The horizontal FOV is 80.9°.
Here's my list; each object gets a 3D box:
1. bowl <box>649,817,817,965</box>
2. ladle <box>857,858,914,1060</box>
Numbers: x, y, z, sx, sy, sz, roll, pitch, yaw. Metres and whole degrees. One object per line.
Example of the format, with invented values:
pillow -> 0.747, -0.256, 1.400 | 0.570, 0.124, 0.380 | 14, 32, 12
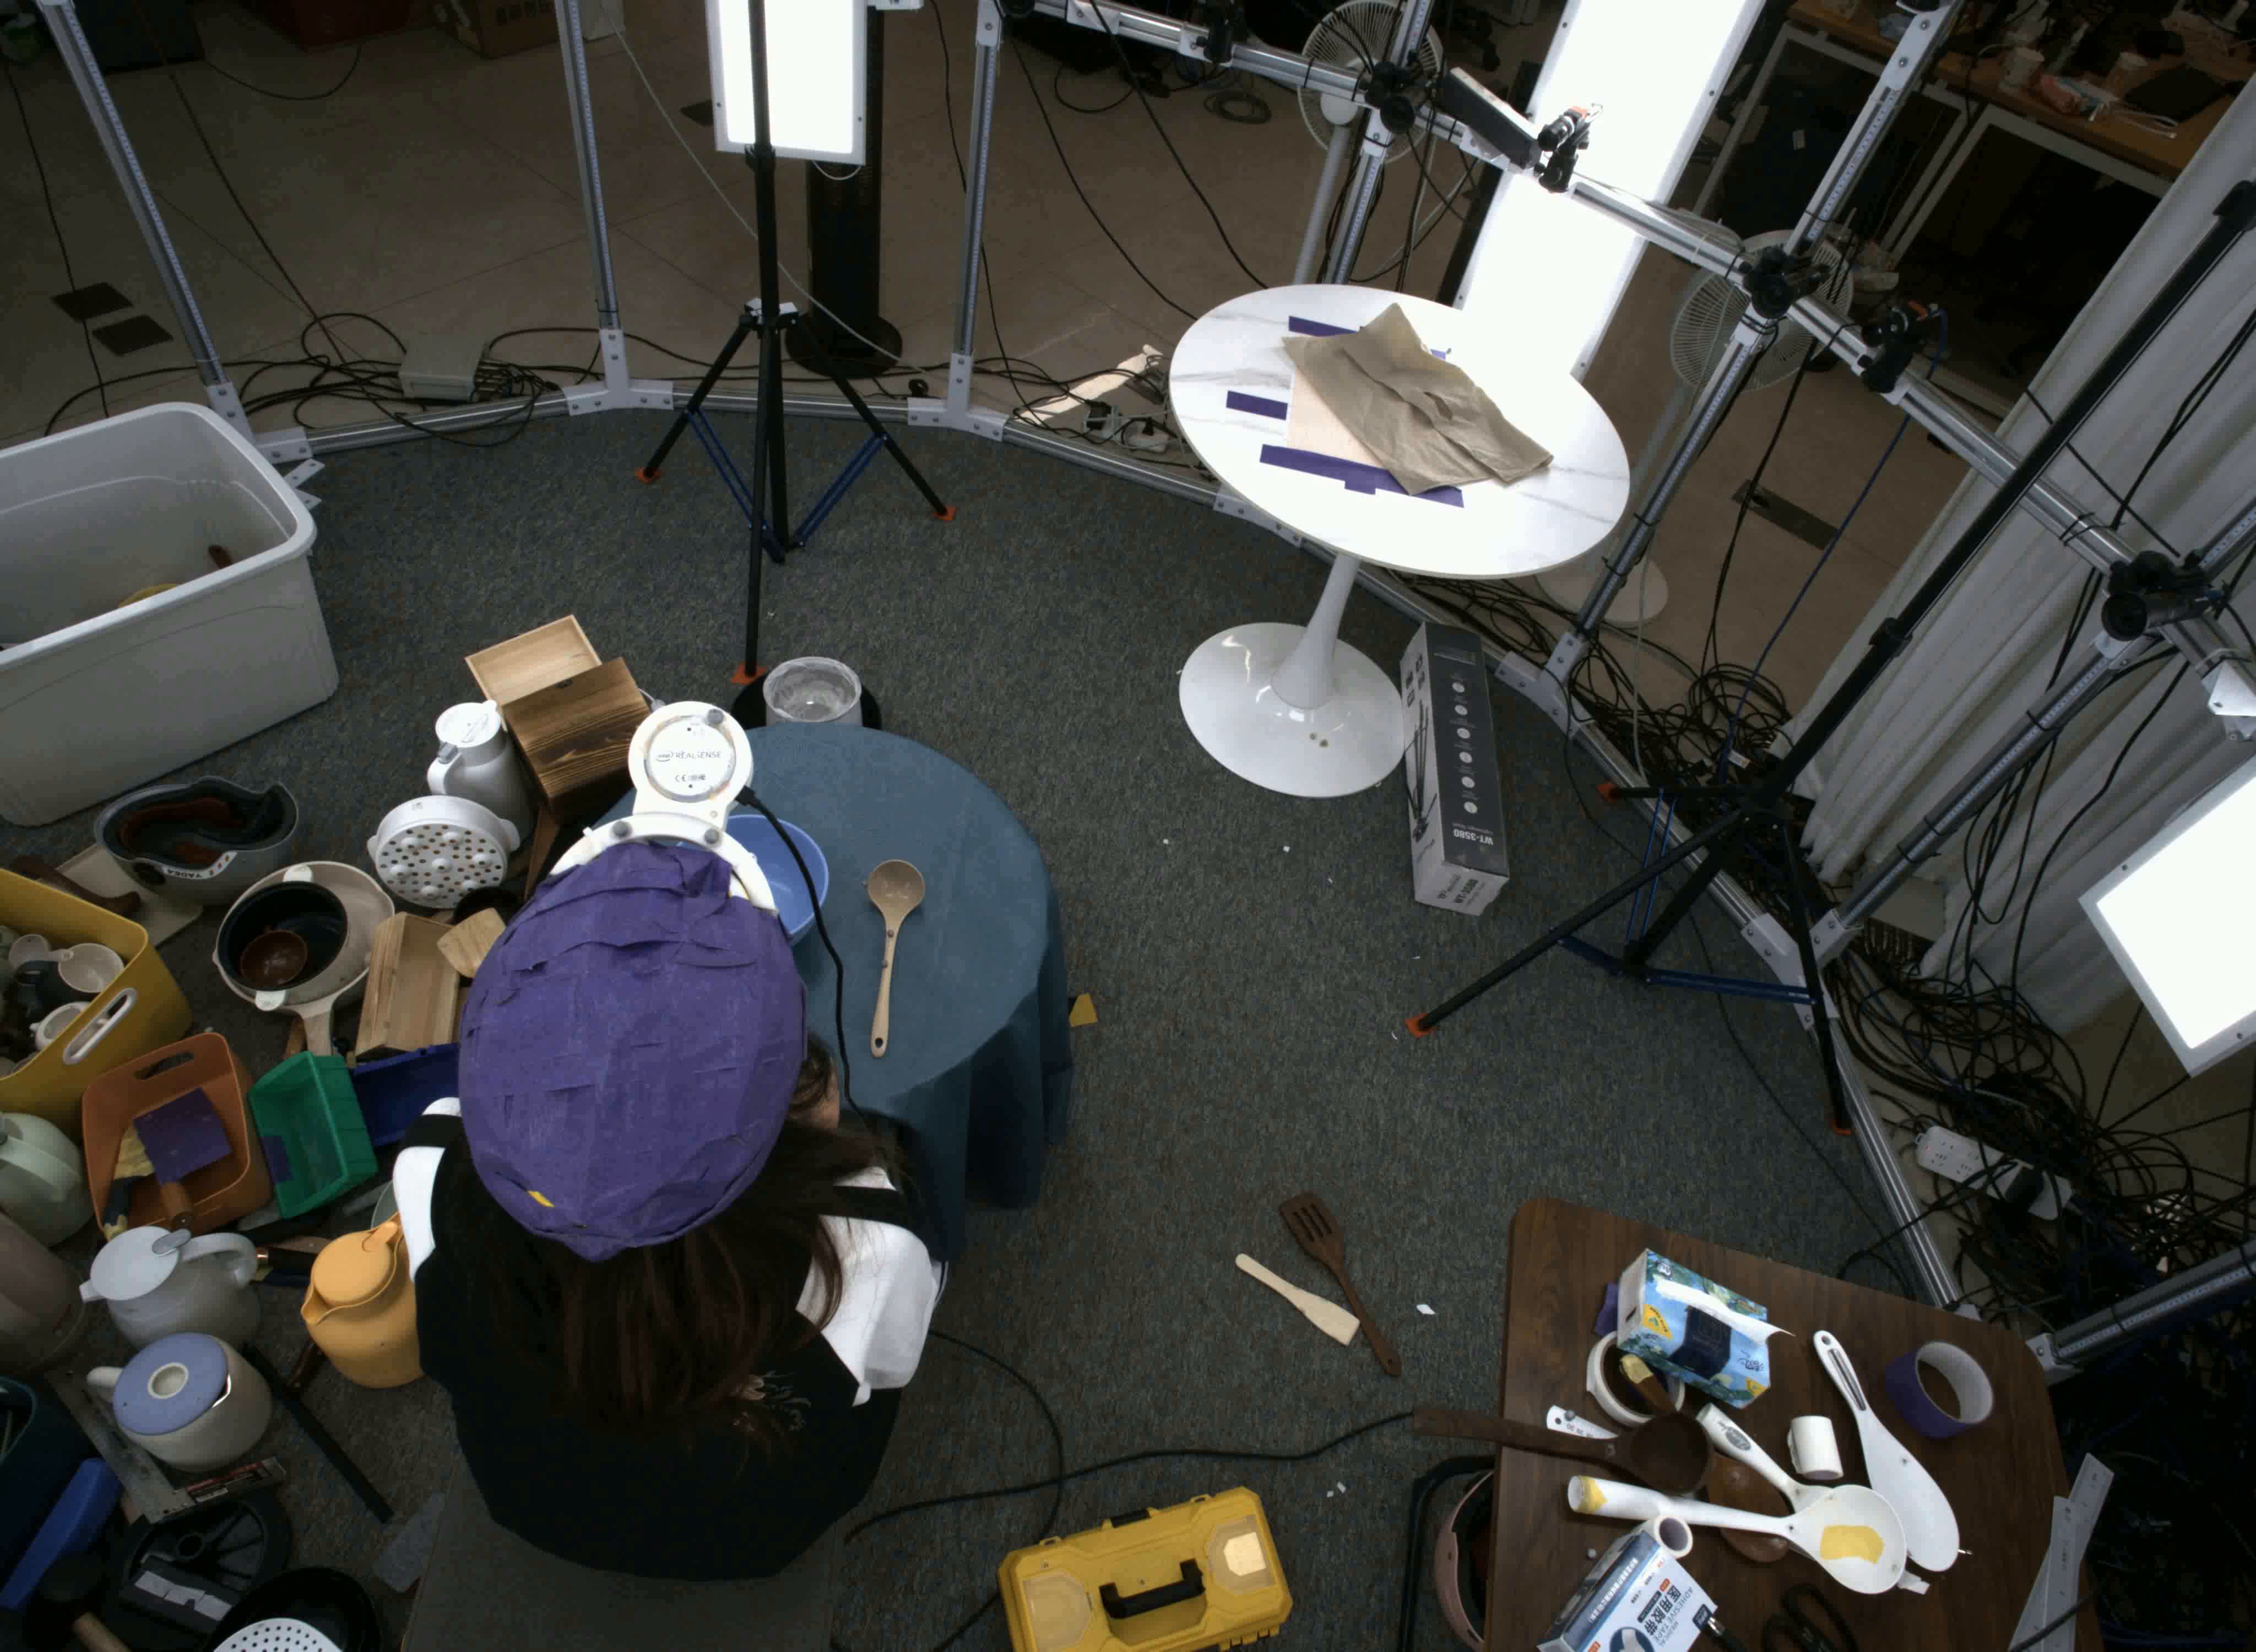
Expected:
bowl -> -0.477, 0.092, 1.573 | 0.196, 0.097, 0.193 | 8, 49, -7
ladle -> -0.301, 0.152, 1.590 | 0.072, 0.074, 0.249 | 3, 53, -9
